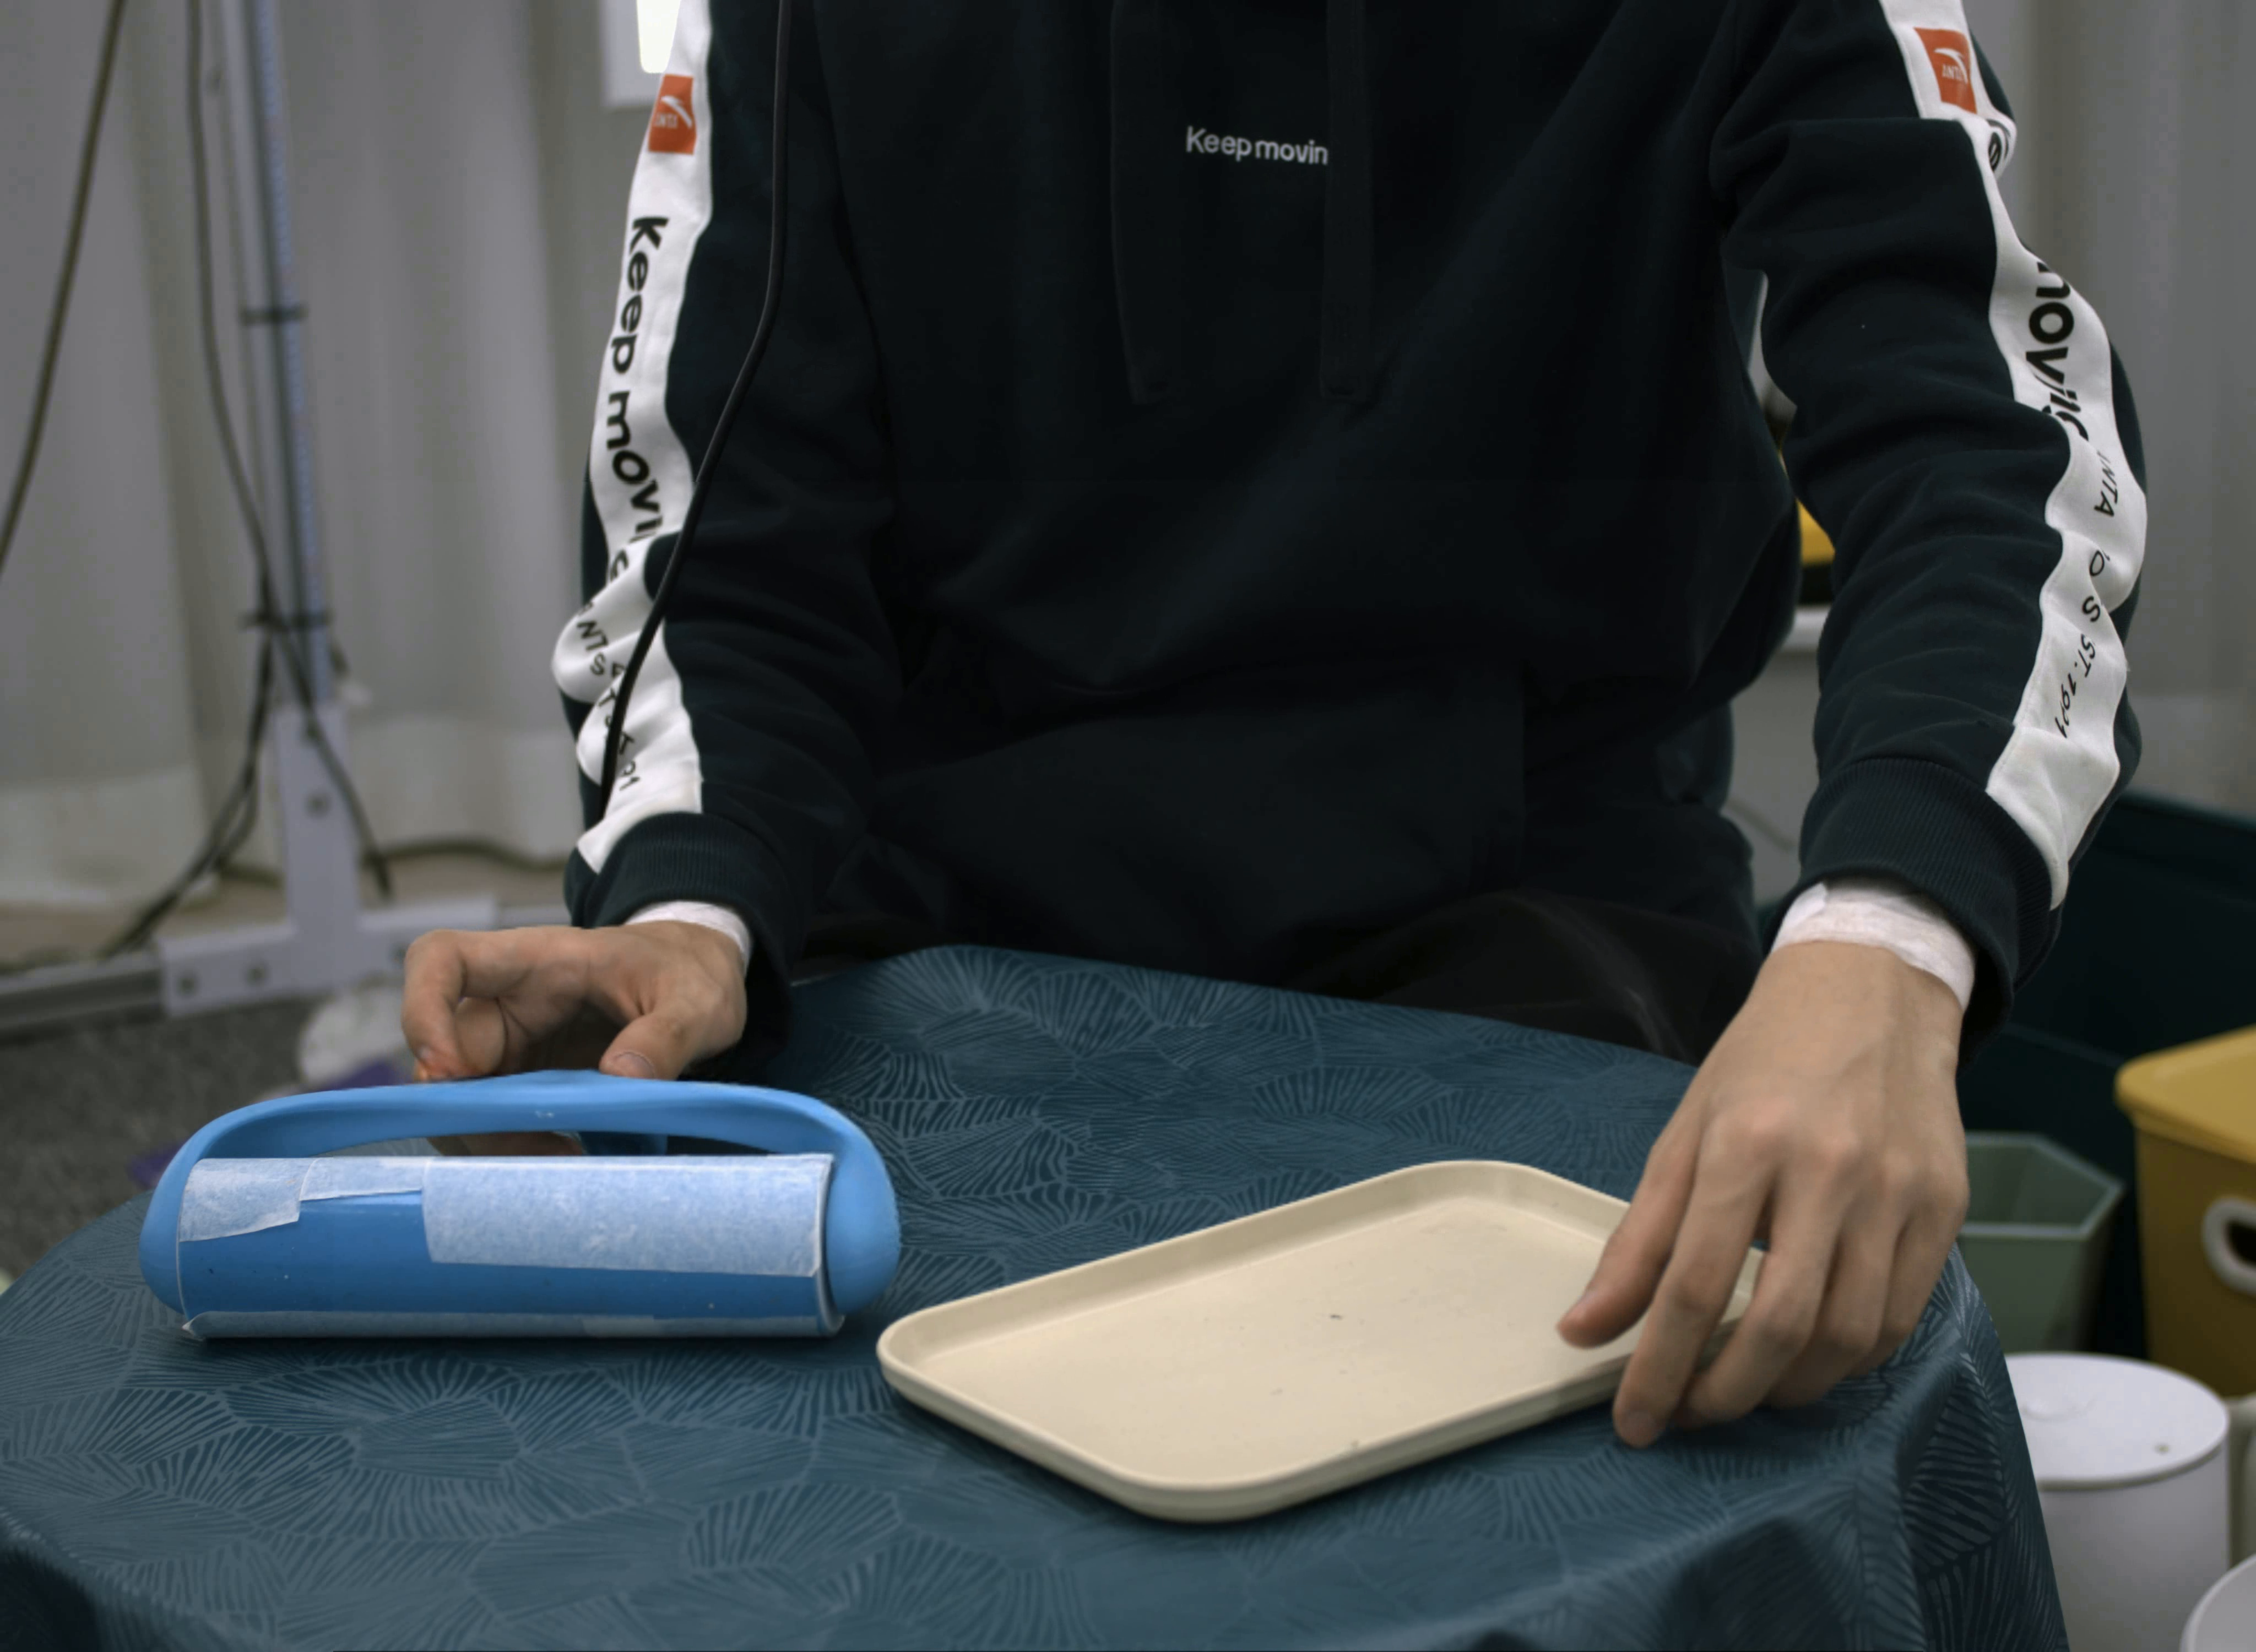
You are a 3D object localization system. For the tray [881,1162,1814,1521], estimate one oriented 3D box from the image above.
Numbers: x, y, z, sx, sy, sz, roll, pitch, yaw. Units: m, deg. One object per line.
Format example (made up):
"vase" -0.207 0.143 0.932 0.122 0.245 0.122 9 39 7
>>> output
"tray" 0.063 0.145 1.553 0.239 0.017 0.172 -14 18 -34

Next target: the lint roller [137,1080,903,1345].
"lint roller" -0.175 0.108 1.666 0.228 0.067 0.181 -3 16 6
